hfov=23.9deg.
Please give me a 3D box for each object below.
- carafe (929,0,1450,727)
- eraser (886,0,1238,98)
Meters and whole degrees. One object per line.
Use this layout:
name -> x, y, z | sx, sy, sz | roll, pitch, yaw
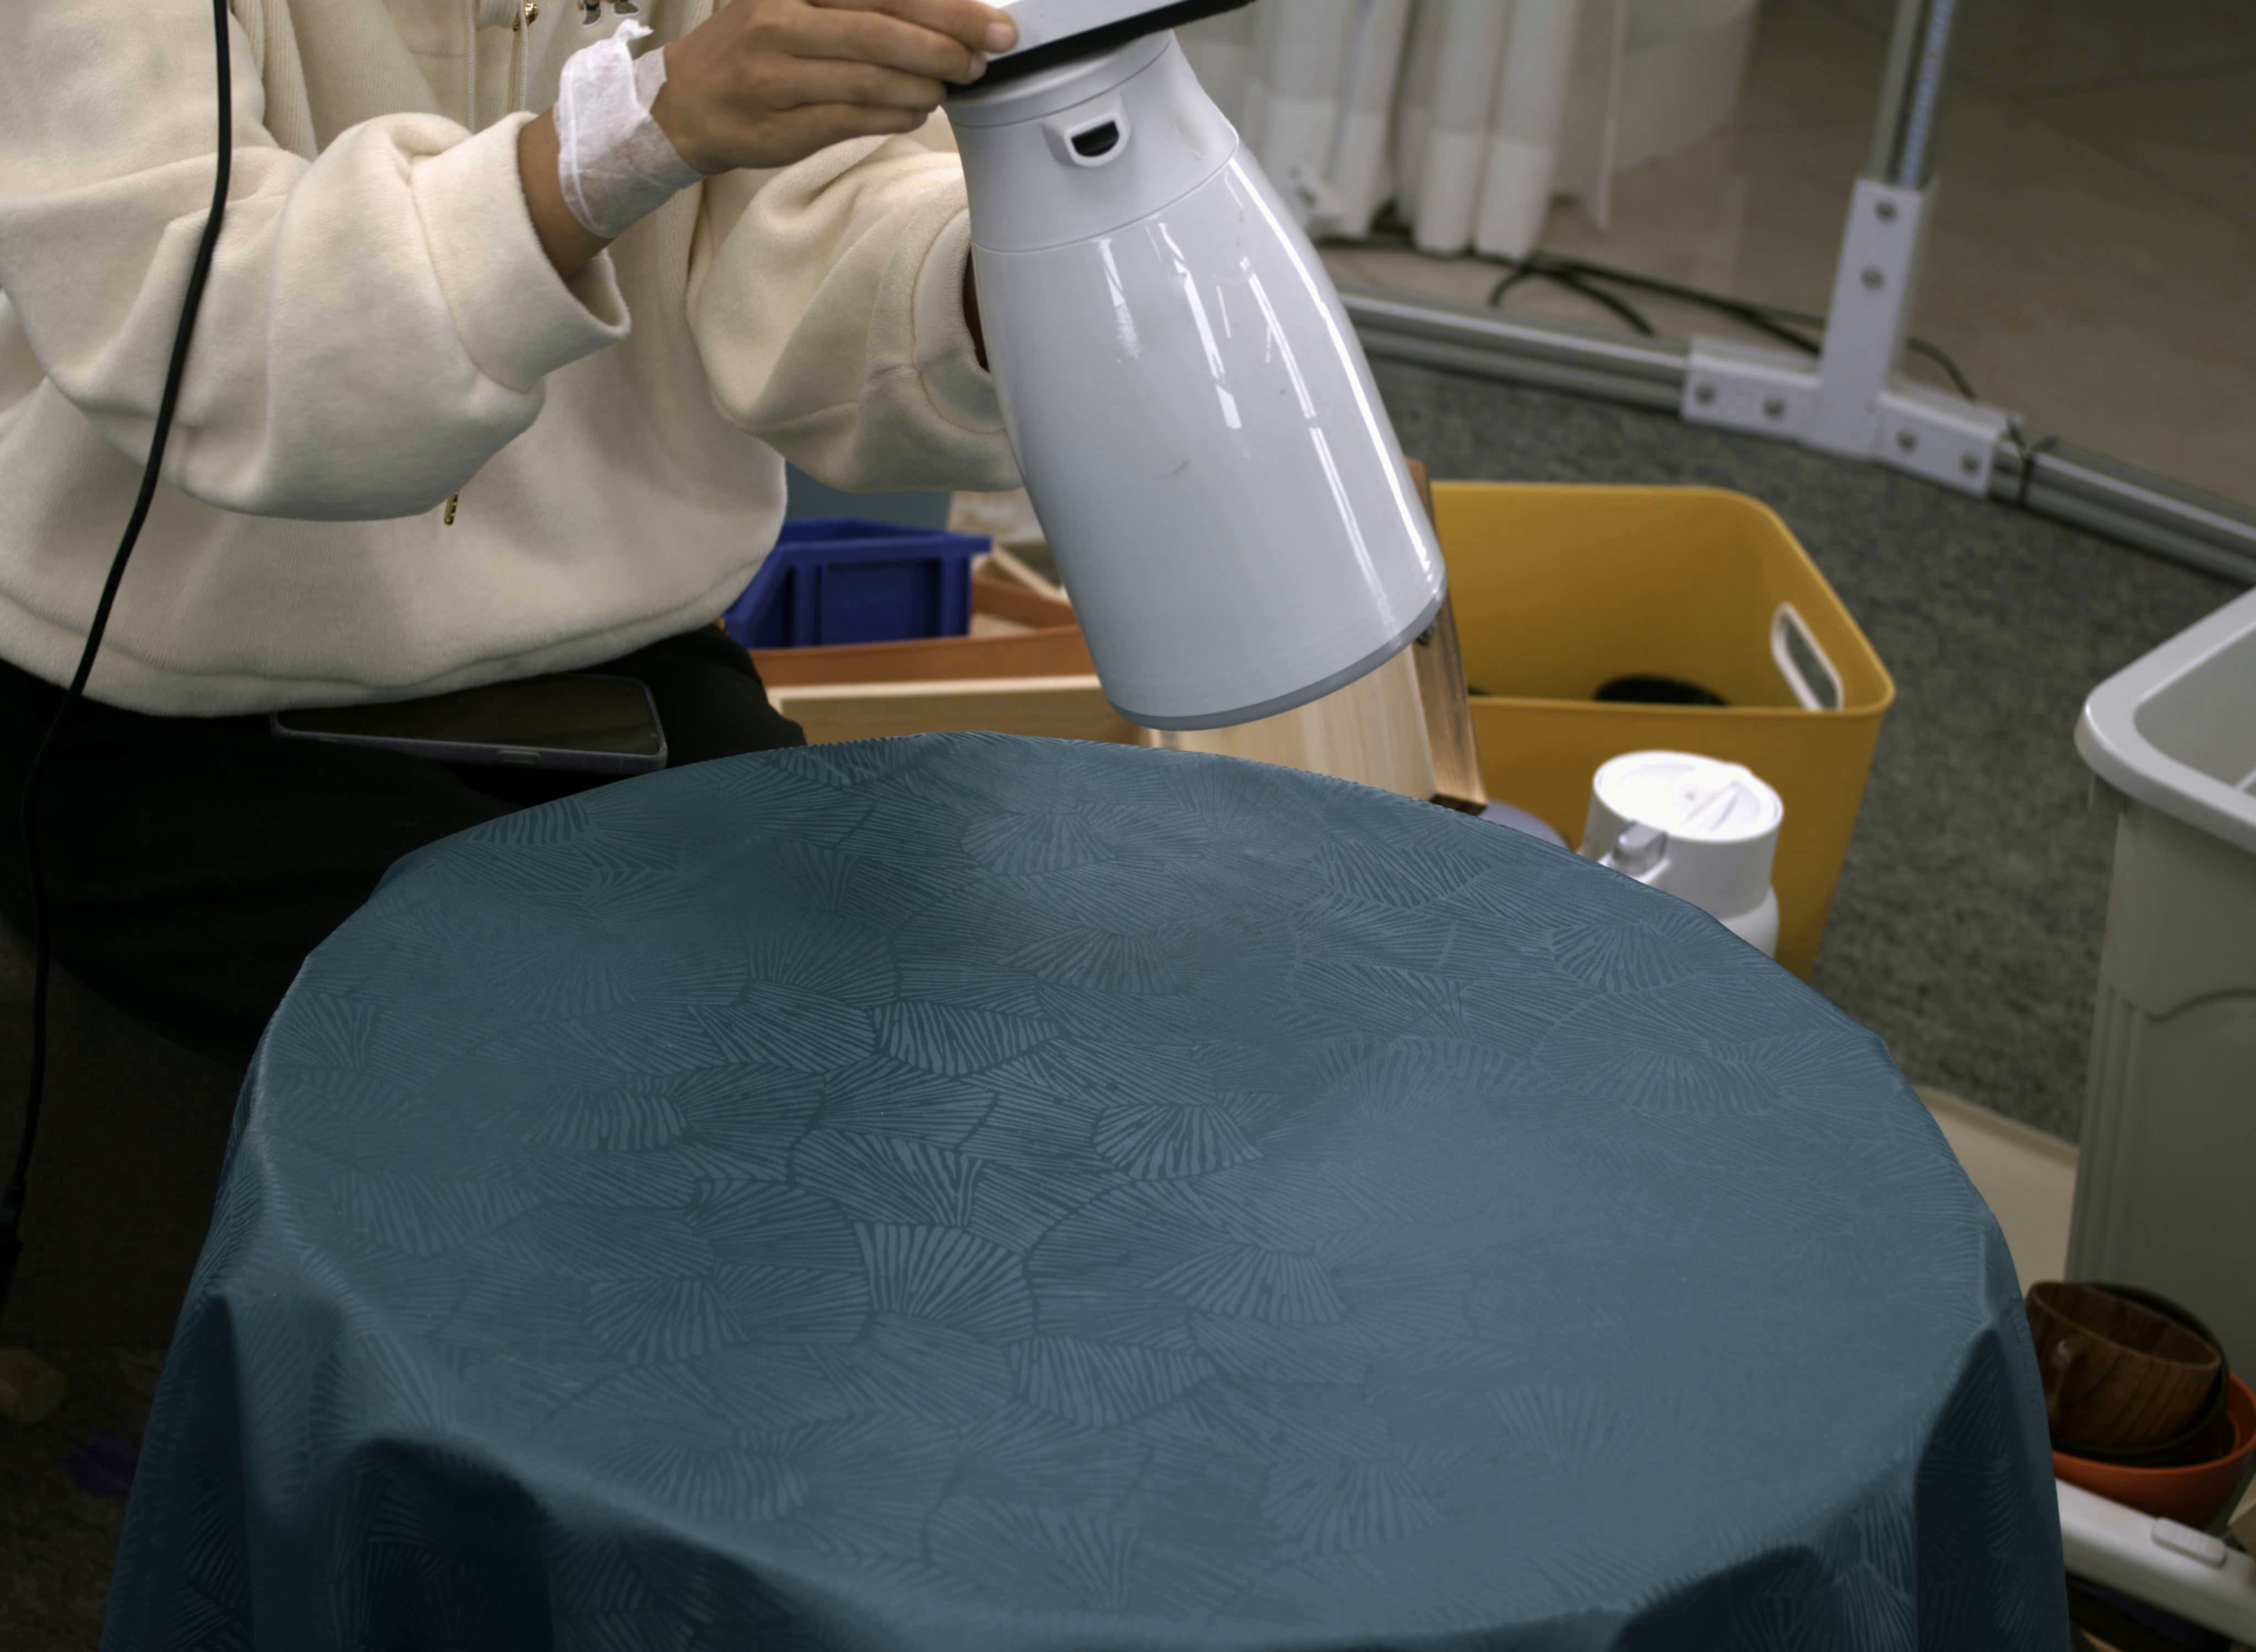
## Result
carafe -> 0.008, -0.180, 1.901 | 0.132, 0.247, 0.169 | -24, 23, -2
eraser -> -0.018, -0.288, 1.811 | 0.131, 0.034, 0.064 | -15, 30, 16
